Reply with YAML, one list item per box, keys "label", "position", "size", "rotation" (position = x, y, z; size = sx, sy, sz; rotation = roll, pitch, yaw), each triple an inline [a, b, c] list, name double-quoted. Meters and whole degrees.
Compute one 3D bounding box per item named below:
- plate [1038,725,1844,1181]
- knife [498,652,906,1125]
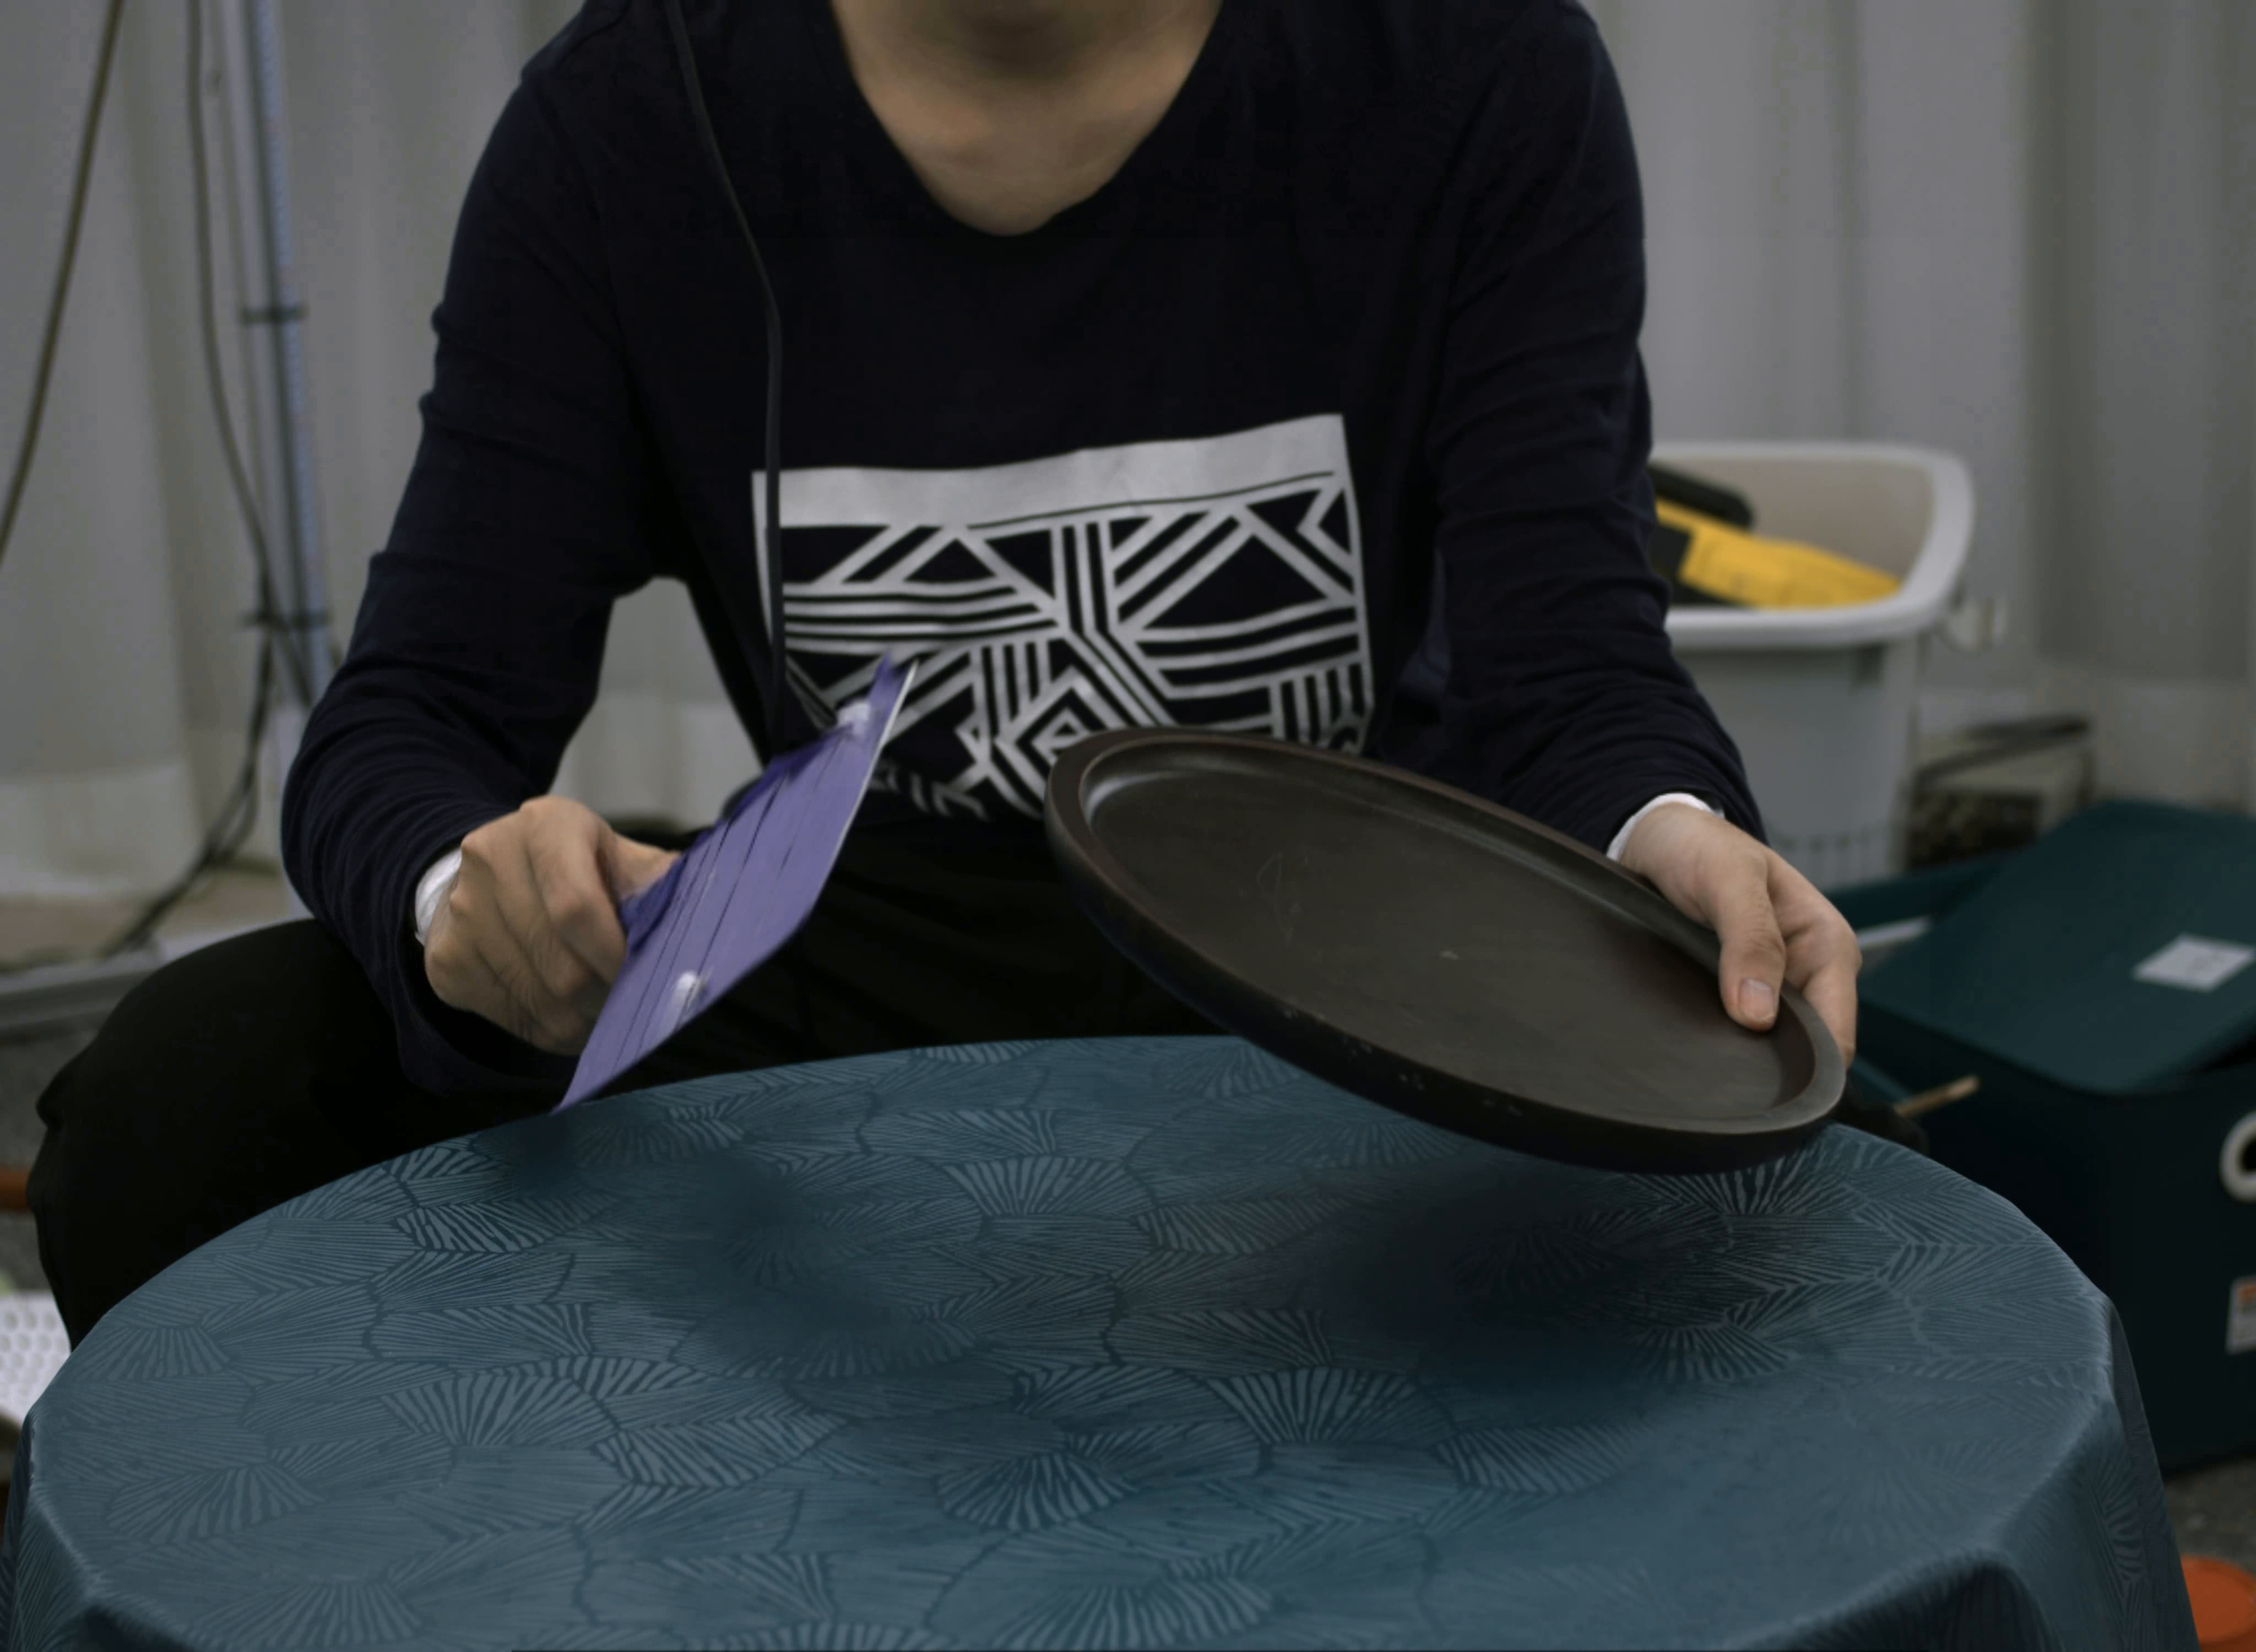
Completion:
- label: "plate"
  position: [0.091, 0.037, 1.616]
  size: [0.253, 0.029, 0.257]
  rotation: [18, 19, -6]
- label: "knife"
  position: [-0.144, 0.039, 1.649]
  size: [0.032, 0.105, 0.313]
  rotation: [30, -28, -11]
